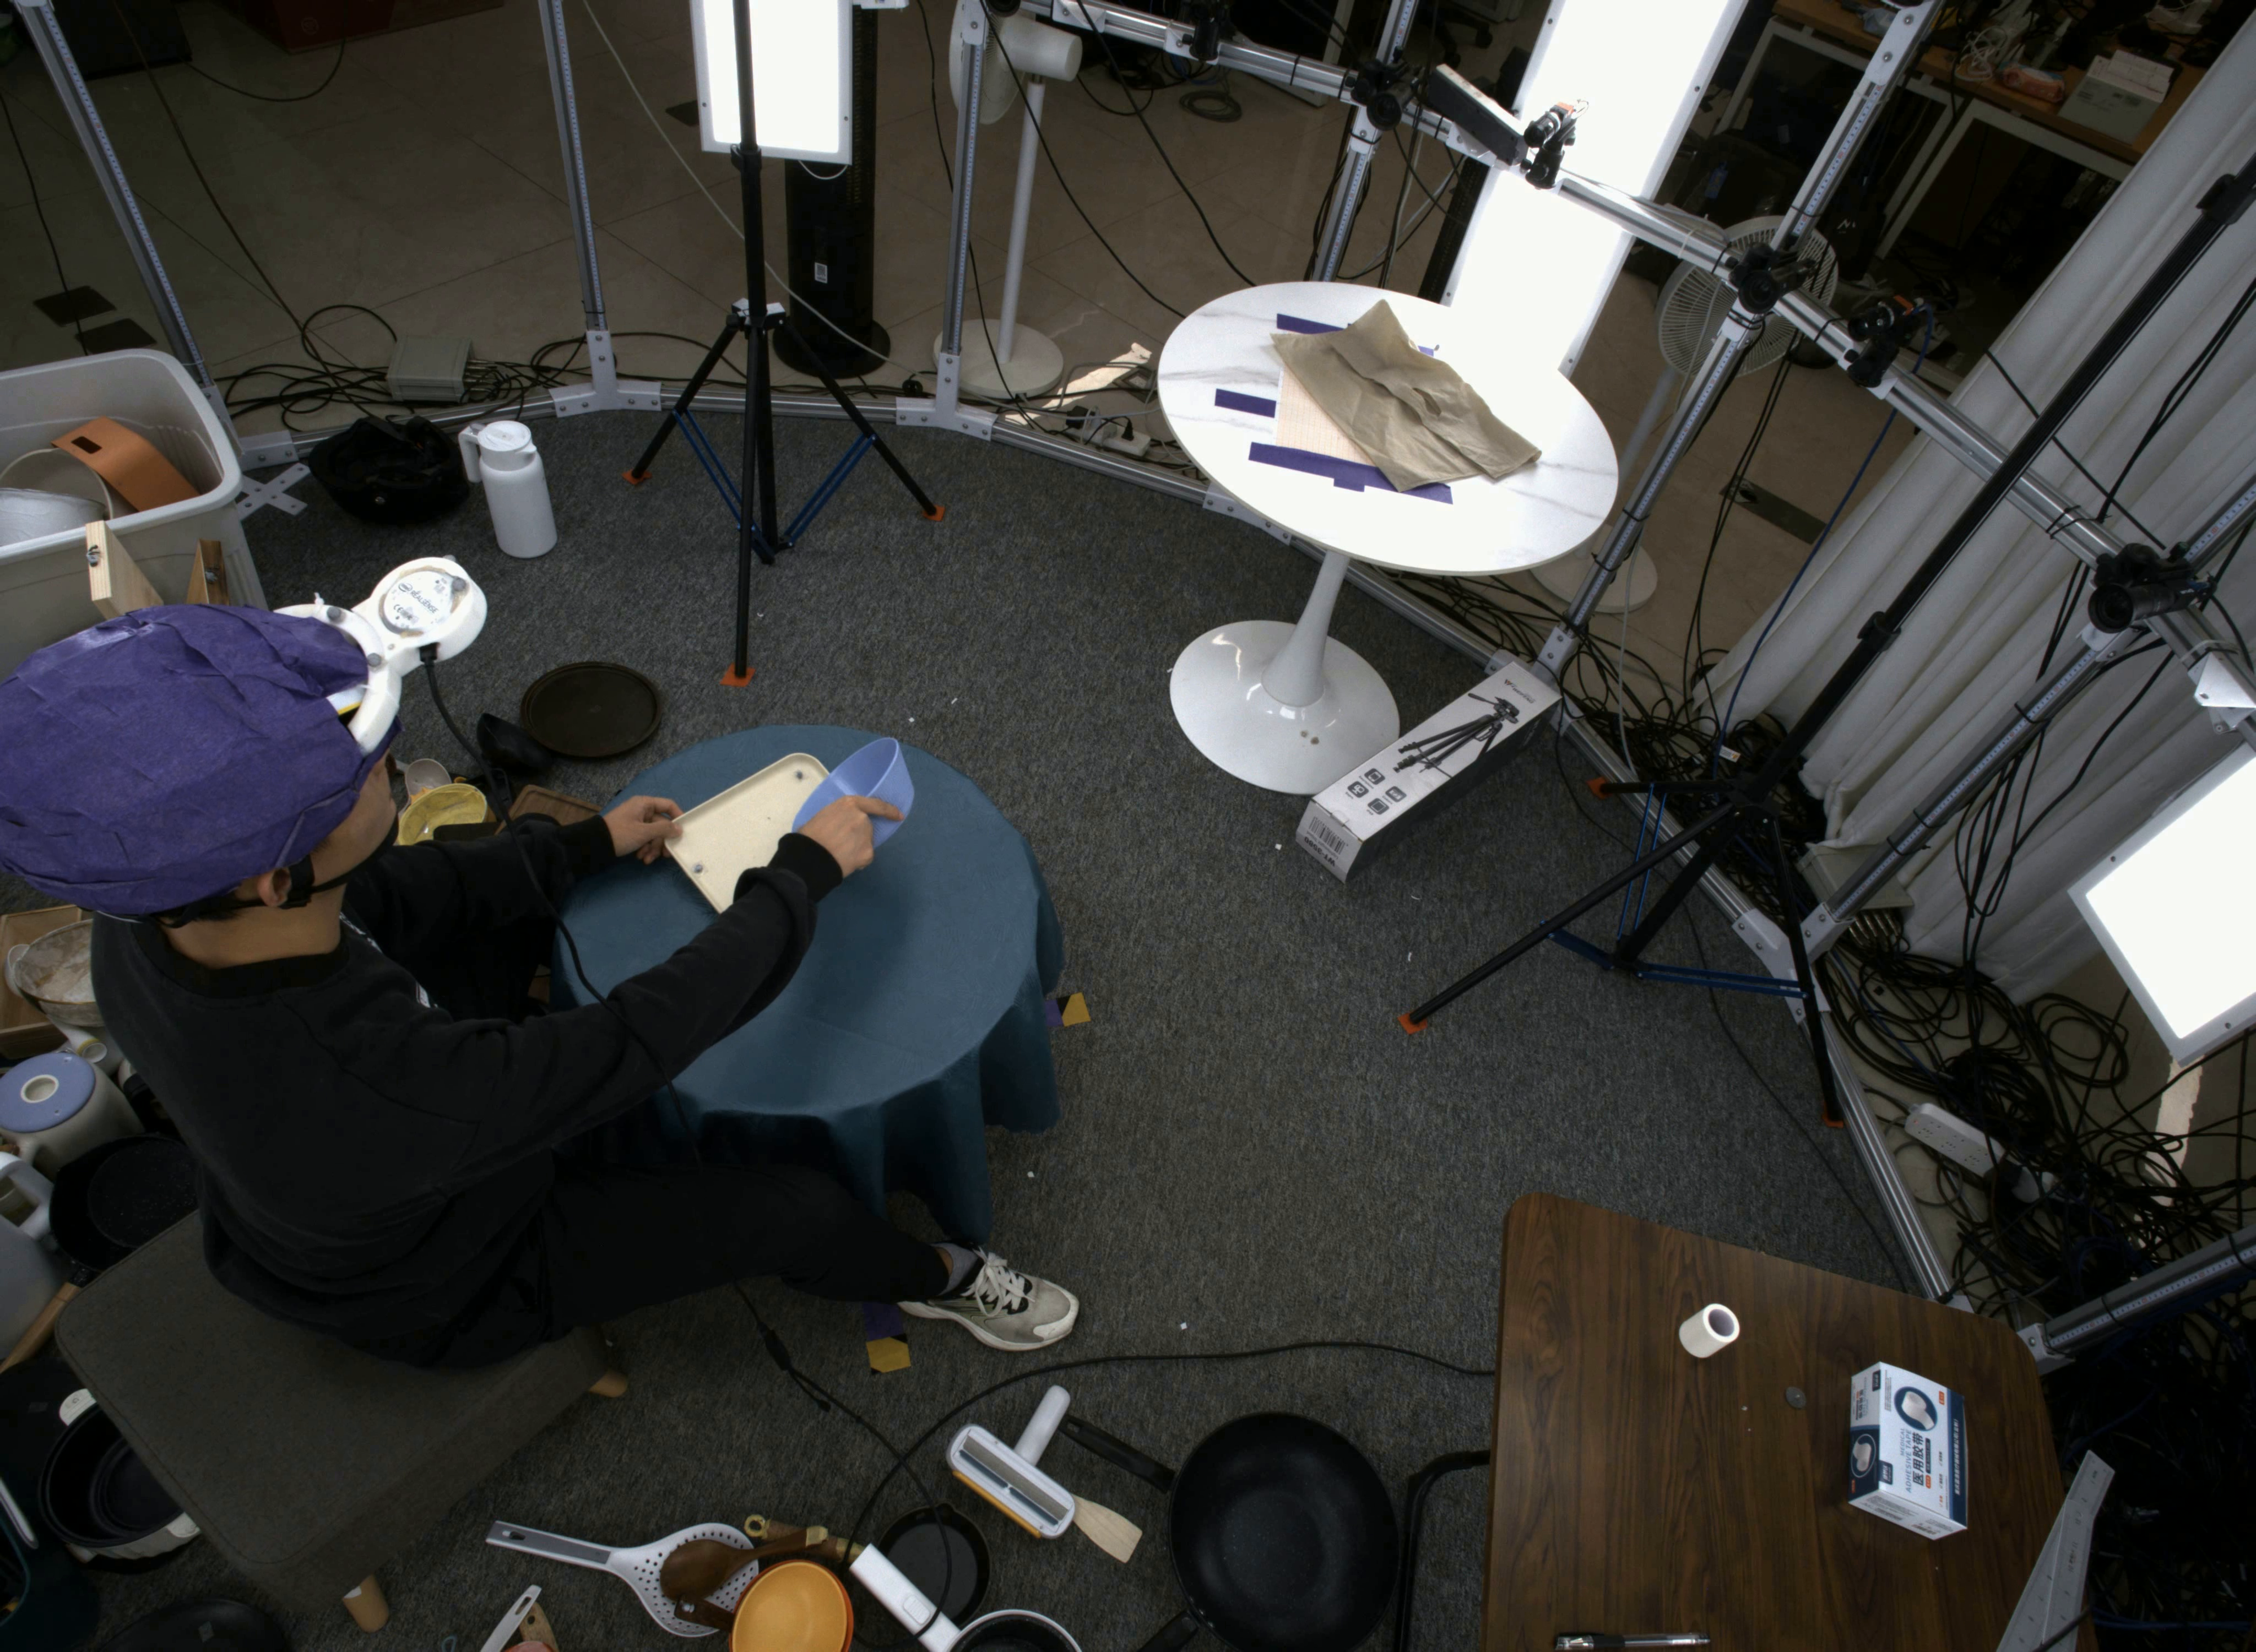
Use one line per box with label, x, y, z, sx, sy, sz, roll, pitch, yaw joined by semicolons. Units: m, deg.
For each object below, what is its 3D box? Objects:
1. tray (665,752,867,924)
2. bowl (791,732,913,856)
tray;-0.464;0.012;1.681;0.240;0.017;0.169;-36;79;-33
bowl;-0.329;-0.029;1.602;0.072;0.172;0.174;47;45;-27
